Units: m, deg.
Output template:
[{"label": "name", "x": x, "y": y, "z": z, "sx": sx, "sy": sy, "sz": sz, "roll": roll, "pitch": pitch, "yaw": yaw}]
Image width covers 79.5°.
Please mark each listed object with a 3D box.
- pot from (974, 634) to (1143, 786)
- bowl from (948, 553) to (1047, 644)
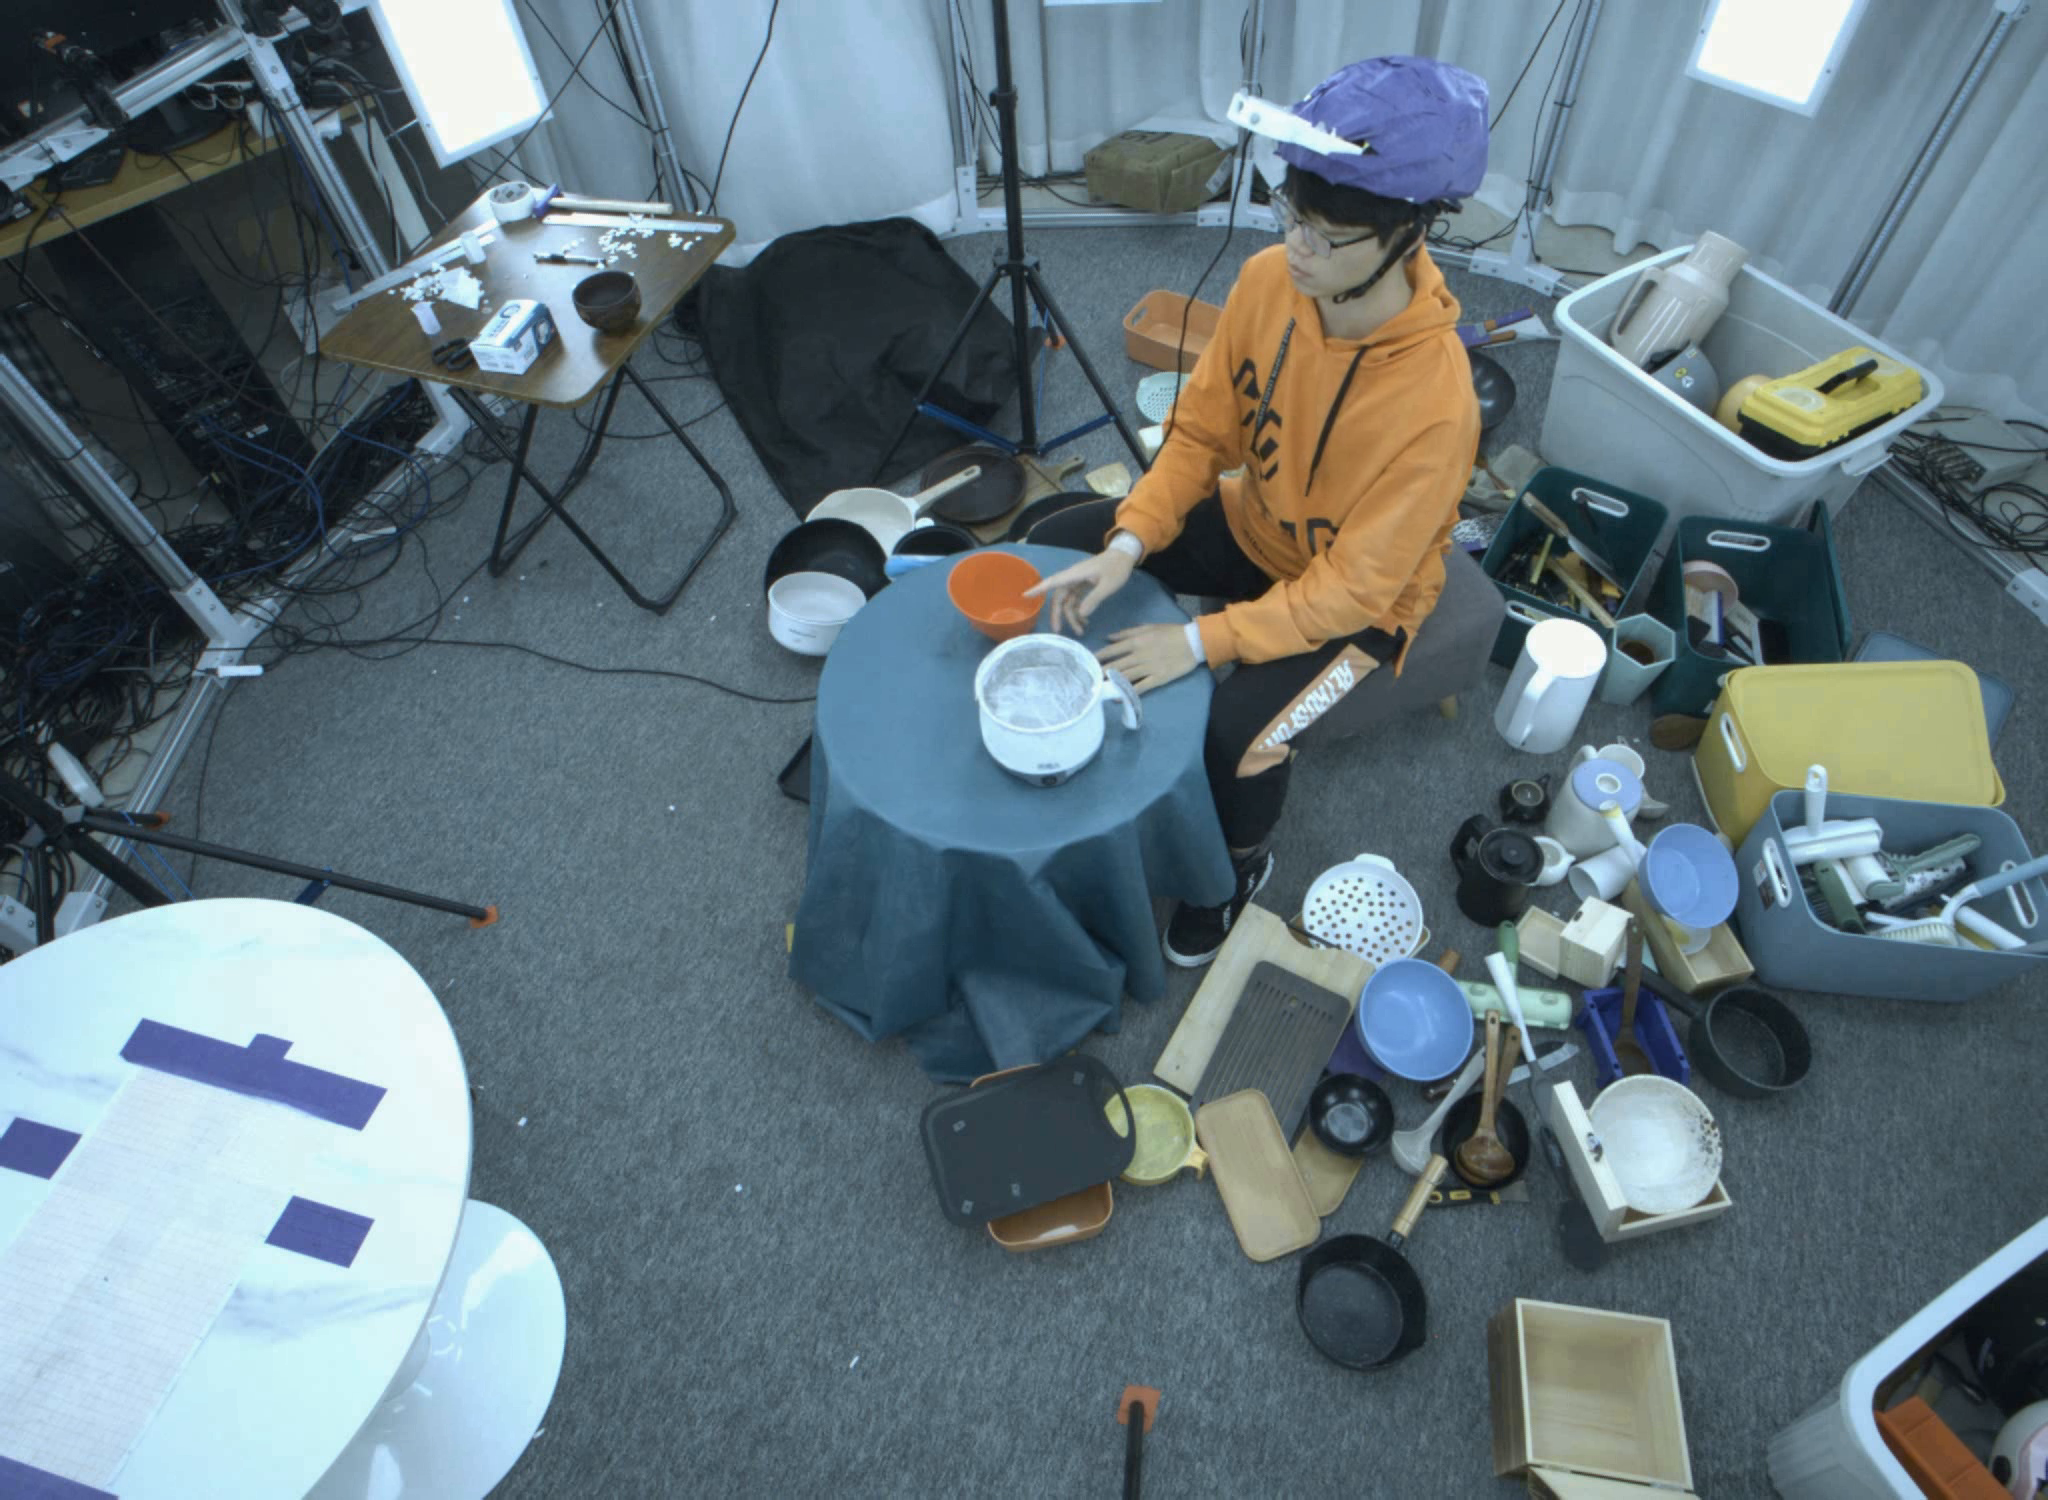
[{"label": "pot", "x": 0.051, "y": -0.060, "z": 1.743, "sx": 0.234, "sy": 0.138, "sz": 0.176, "roll": -8, "pitch": 55, "yaw": -2}, {"label": "bowl", "x": -0.038, "y": -0.221, "z": 1.885, "sx": 0.148, "sy": 0.106, "sz": 0.146, "roll": 0, "pitch": 55, "yaw": 2}]
